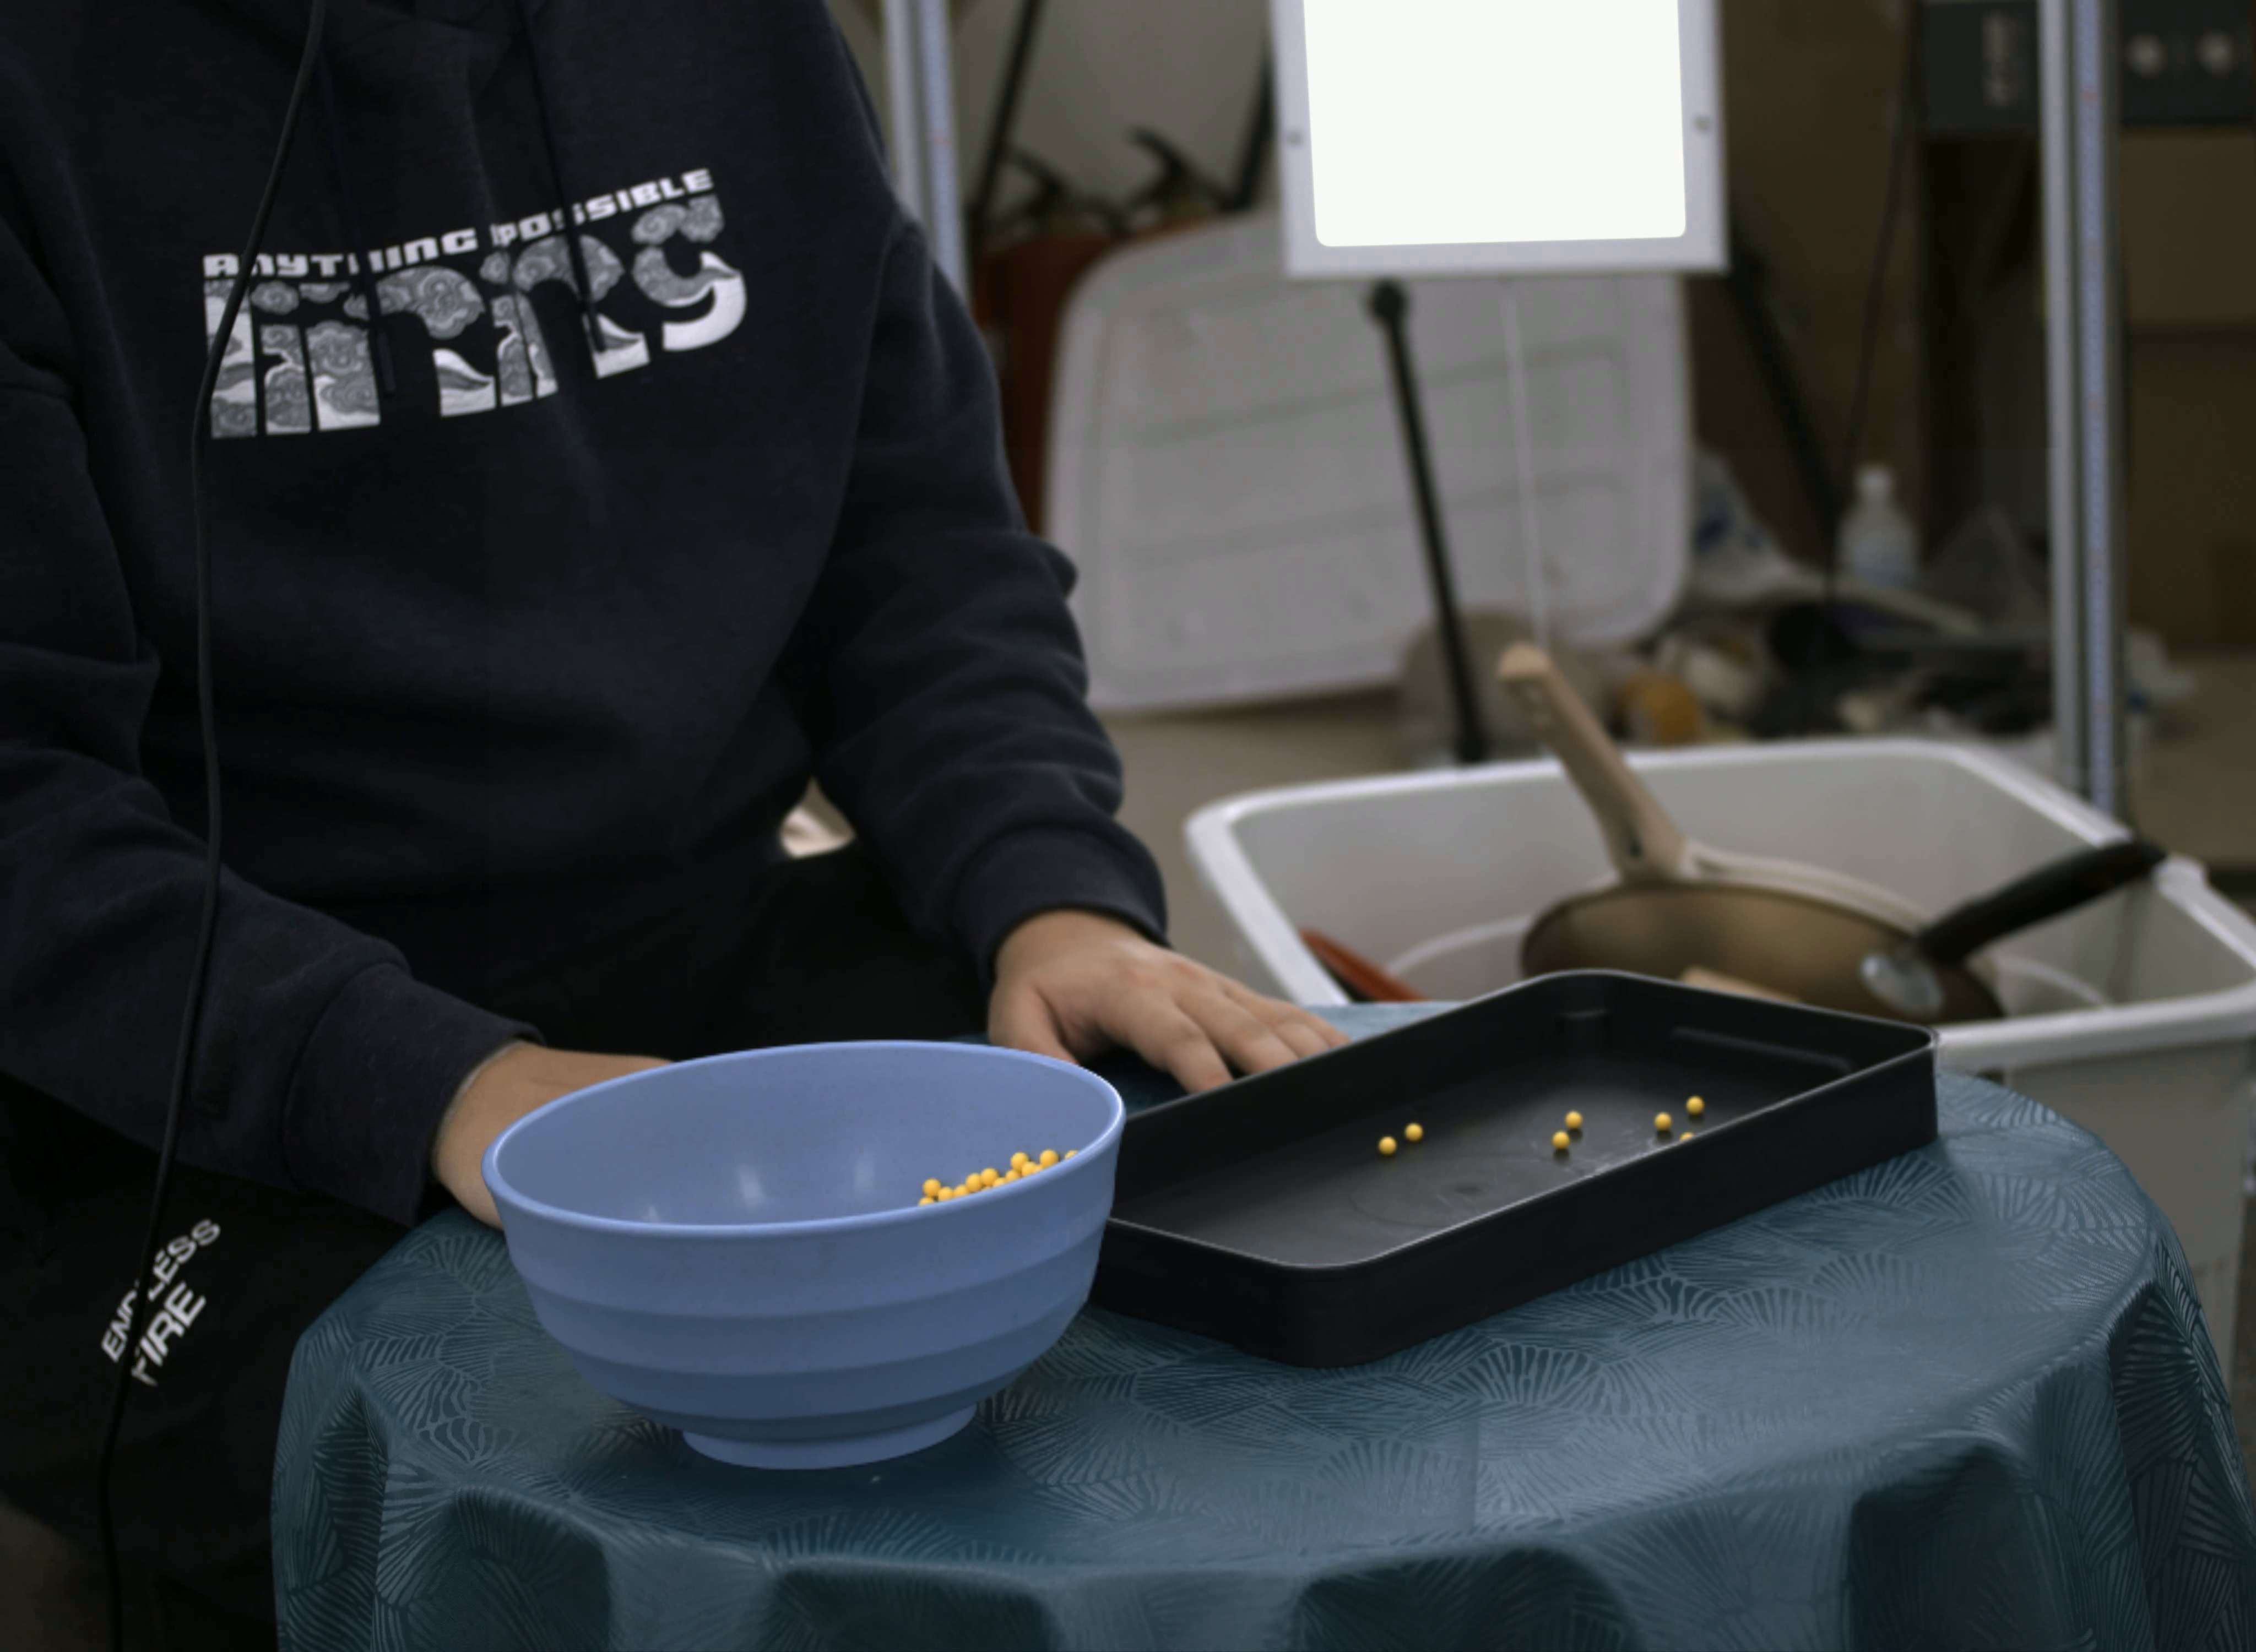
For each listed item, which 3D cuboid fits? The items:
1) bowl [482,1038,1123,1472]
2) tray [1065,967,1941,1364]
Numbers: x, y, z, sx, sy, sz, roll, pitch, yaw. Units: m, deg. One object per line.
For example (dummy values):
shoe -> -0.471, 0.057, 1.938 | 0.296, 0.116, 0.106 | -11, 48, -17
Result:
bowl -> -0.095, 0.137, 1.687 | 0.196, 0.096, 0.196 | -6, 14, 0
tray -> 0.114, 0.109, 1.850 | 0.310, 0.037, 0.188 | -16, 17, -39
